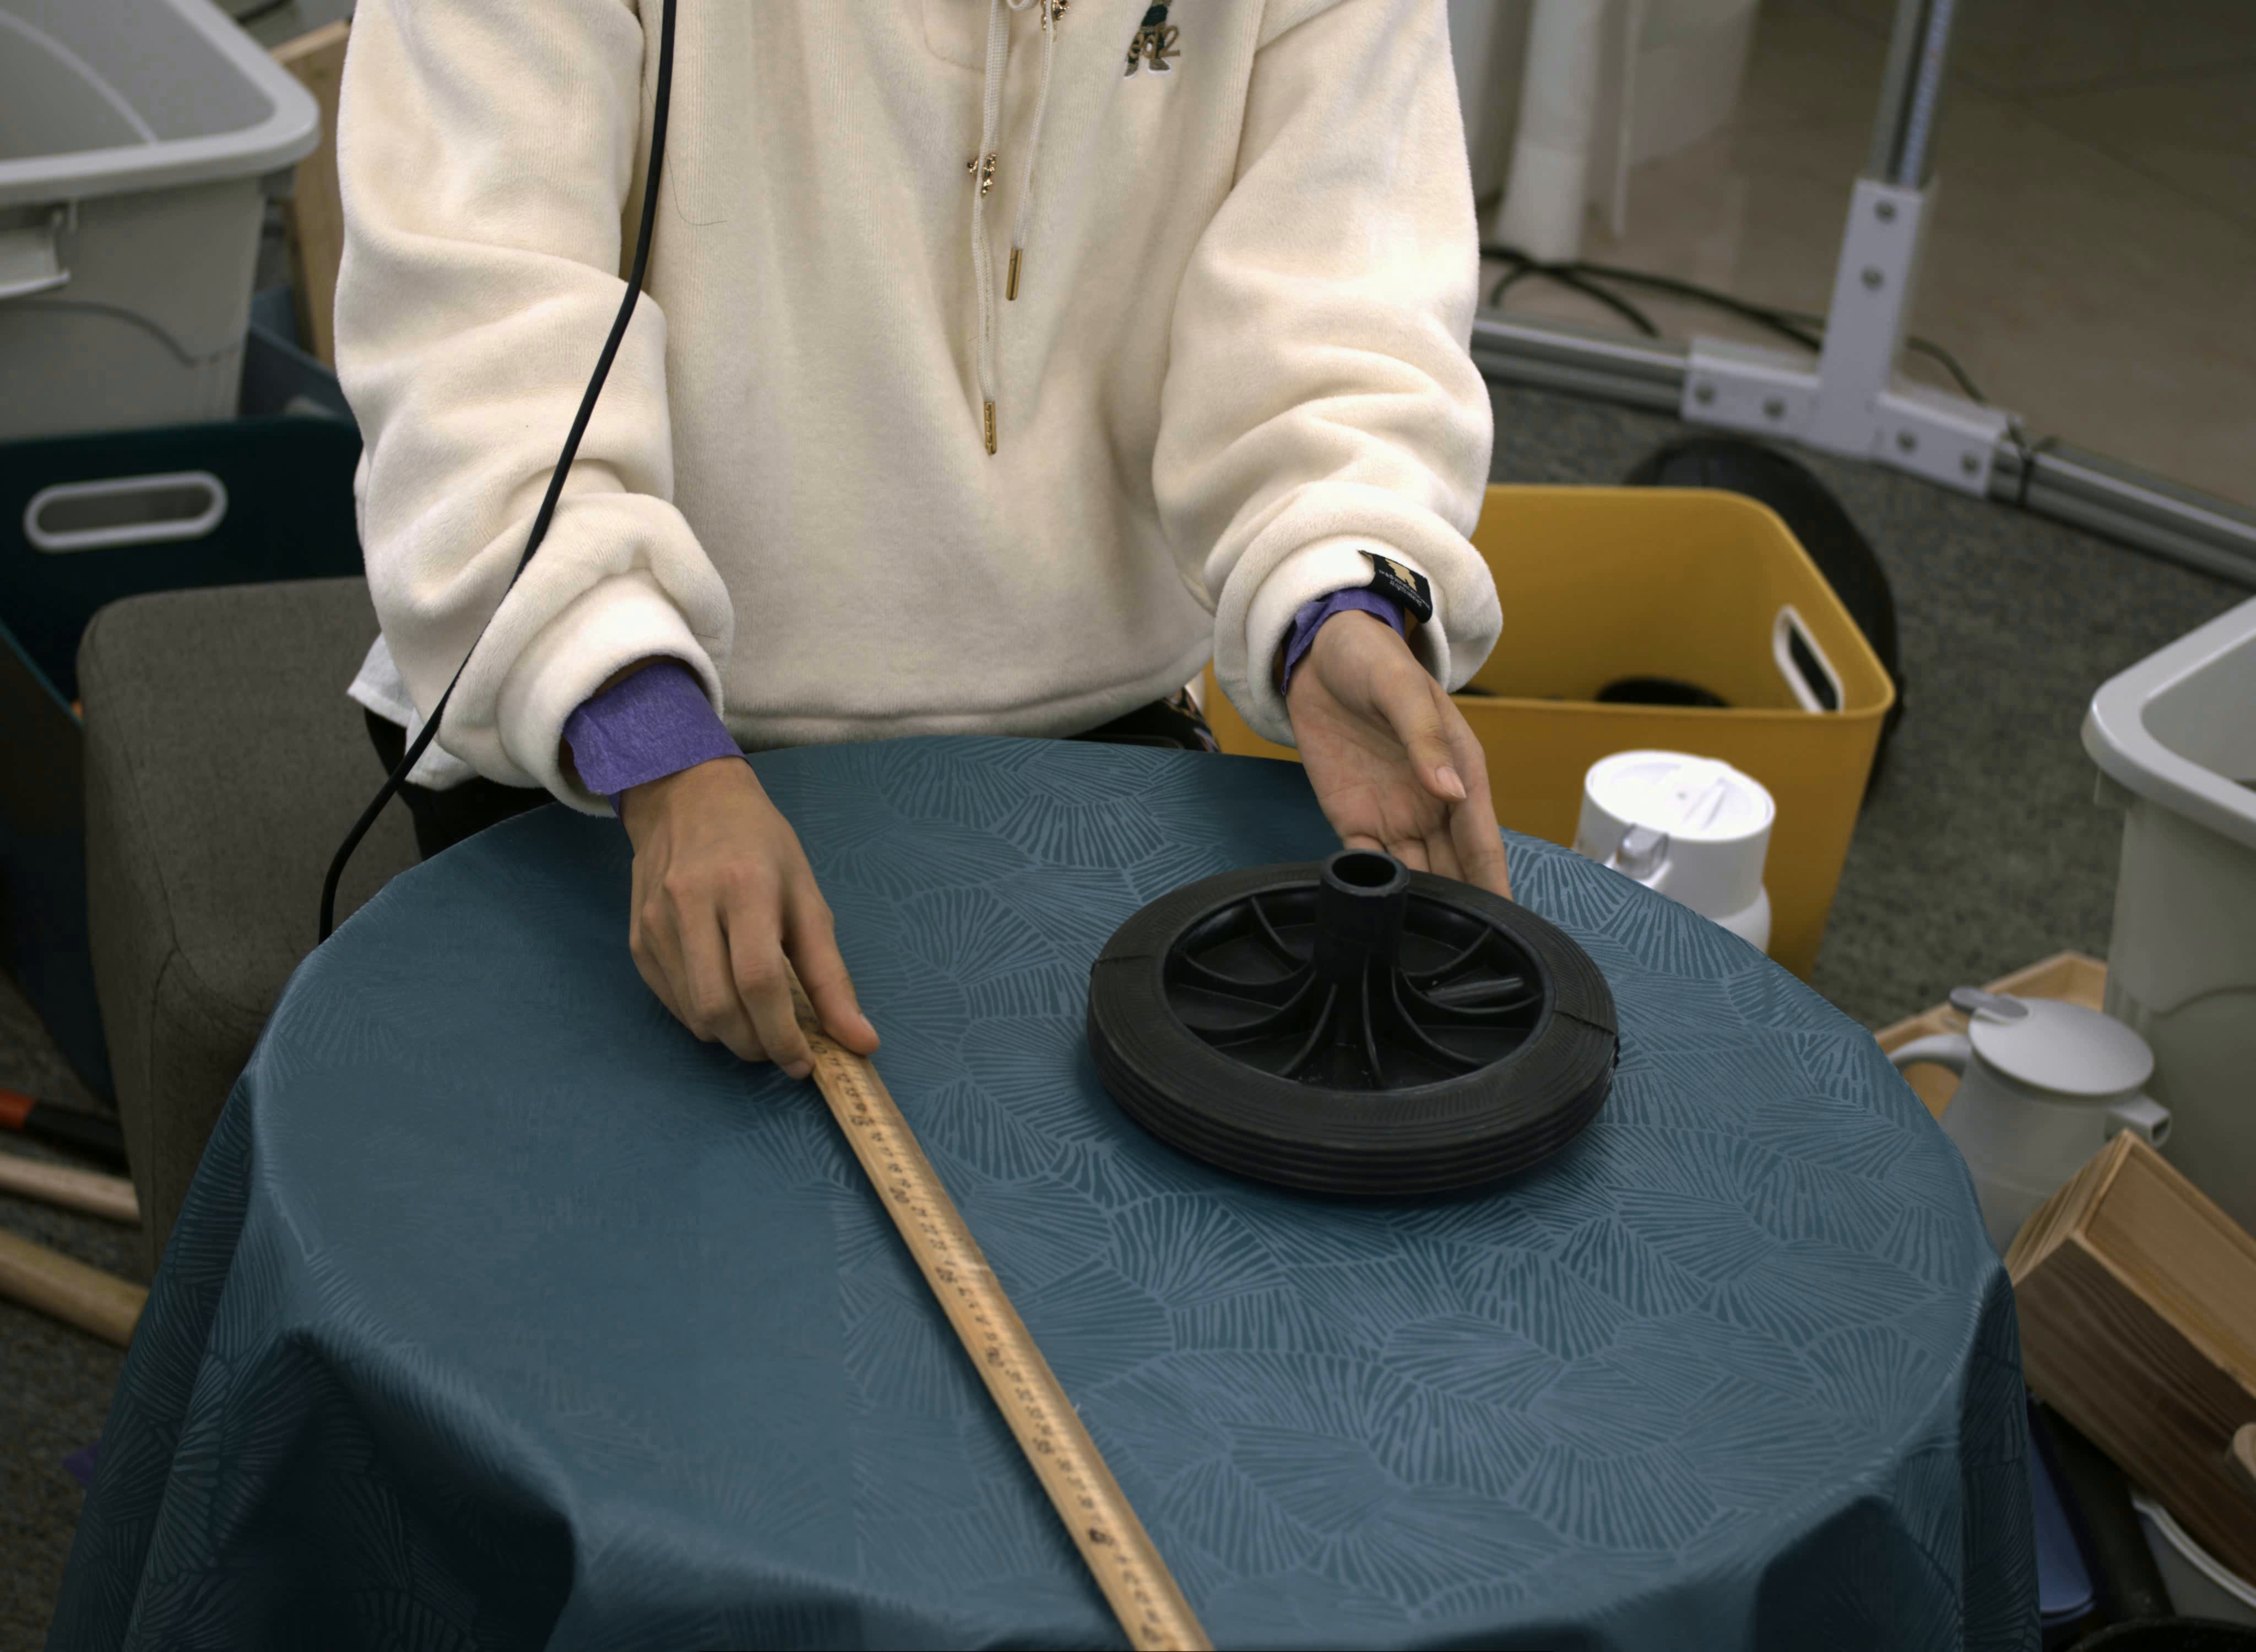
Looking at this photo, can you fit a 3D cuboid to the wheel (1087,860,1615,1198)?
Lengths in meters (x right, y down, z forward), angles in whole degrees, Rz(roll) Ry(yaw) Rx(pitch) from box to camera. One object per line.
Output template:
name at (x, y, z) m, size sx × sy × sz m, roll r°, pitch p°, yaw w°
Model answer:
wheel at (0.081, 0.053, 1.869) m, size 0.189 × 0.079 × 0.189 m, roll -23°, pitch 39°, yaw -38°

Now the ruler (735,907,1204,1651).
ruler at (-0.054, 0.148, 1.729) m, size 0.026 × 0.006 × 0.505 m, roll 15°, pitch 21°, yaw -27°
